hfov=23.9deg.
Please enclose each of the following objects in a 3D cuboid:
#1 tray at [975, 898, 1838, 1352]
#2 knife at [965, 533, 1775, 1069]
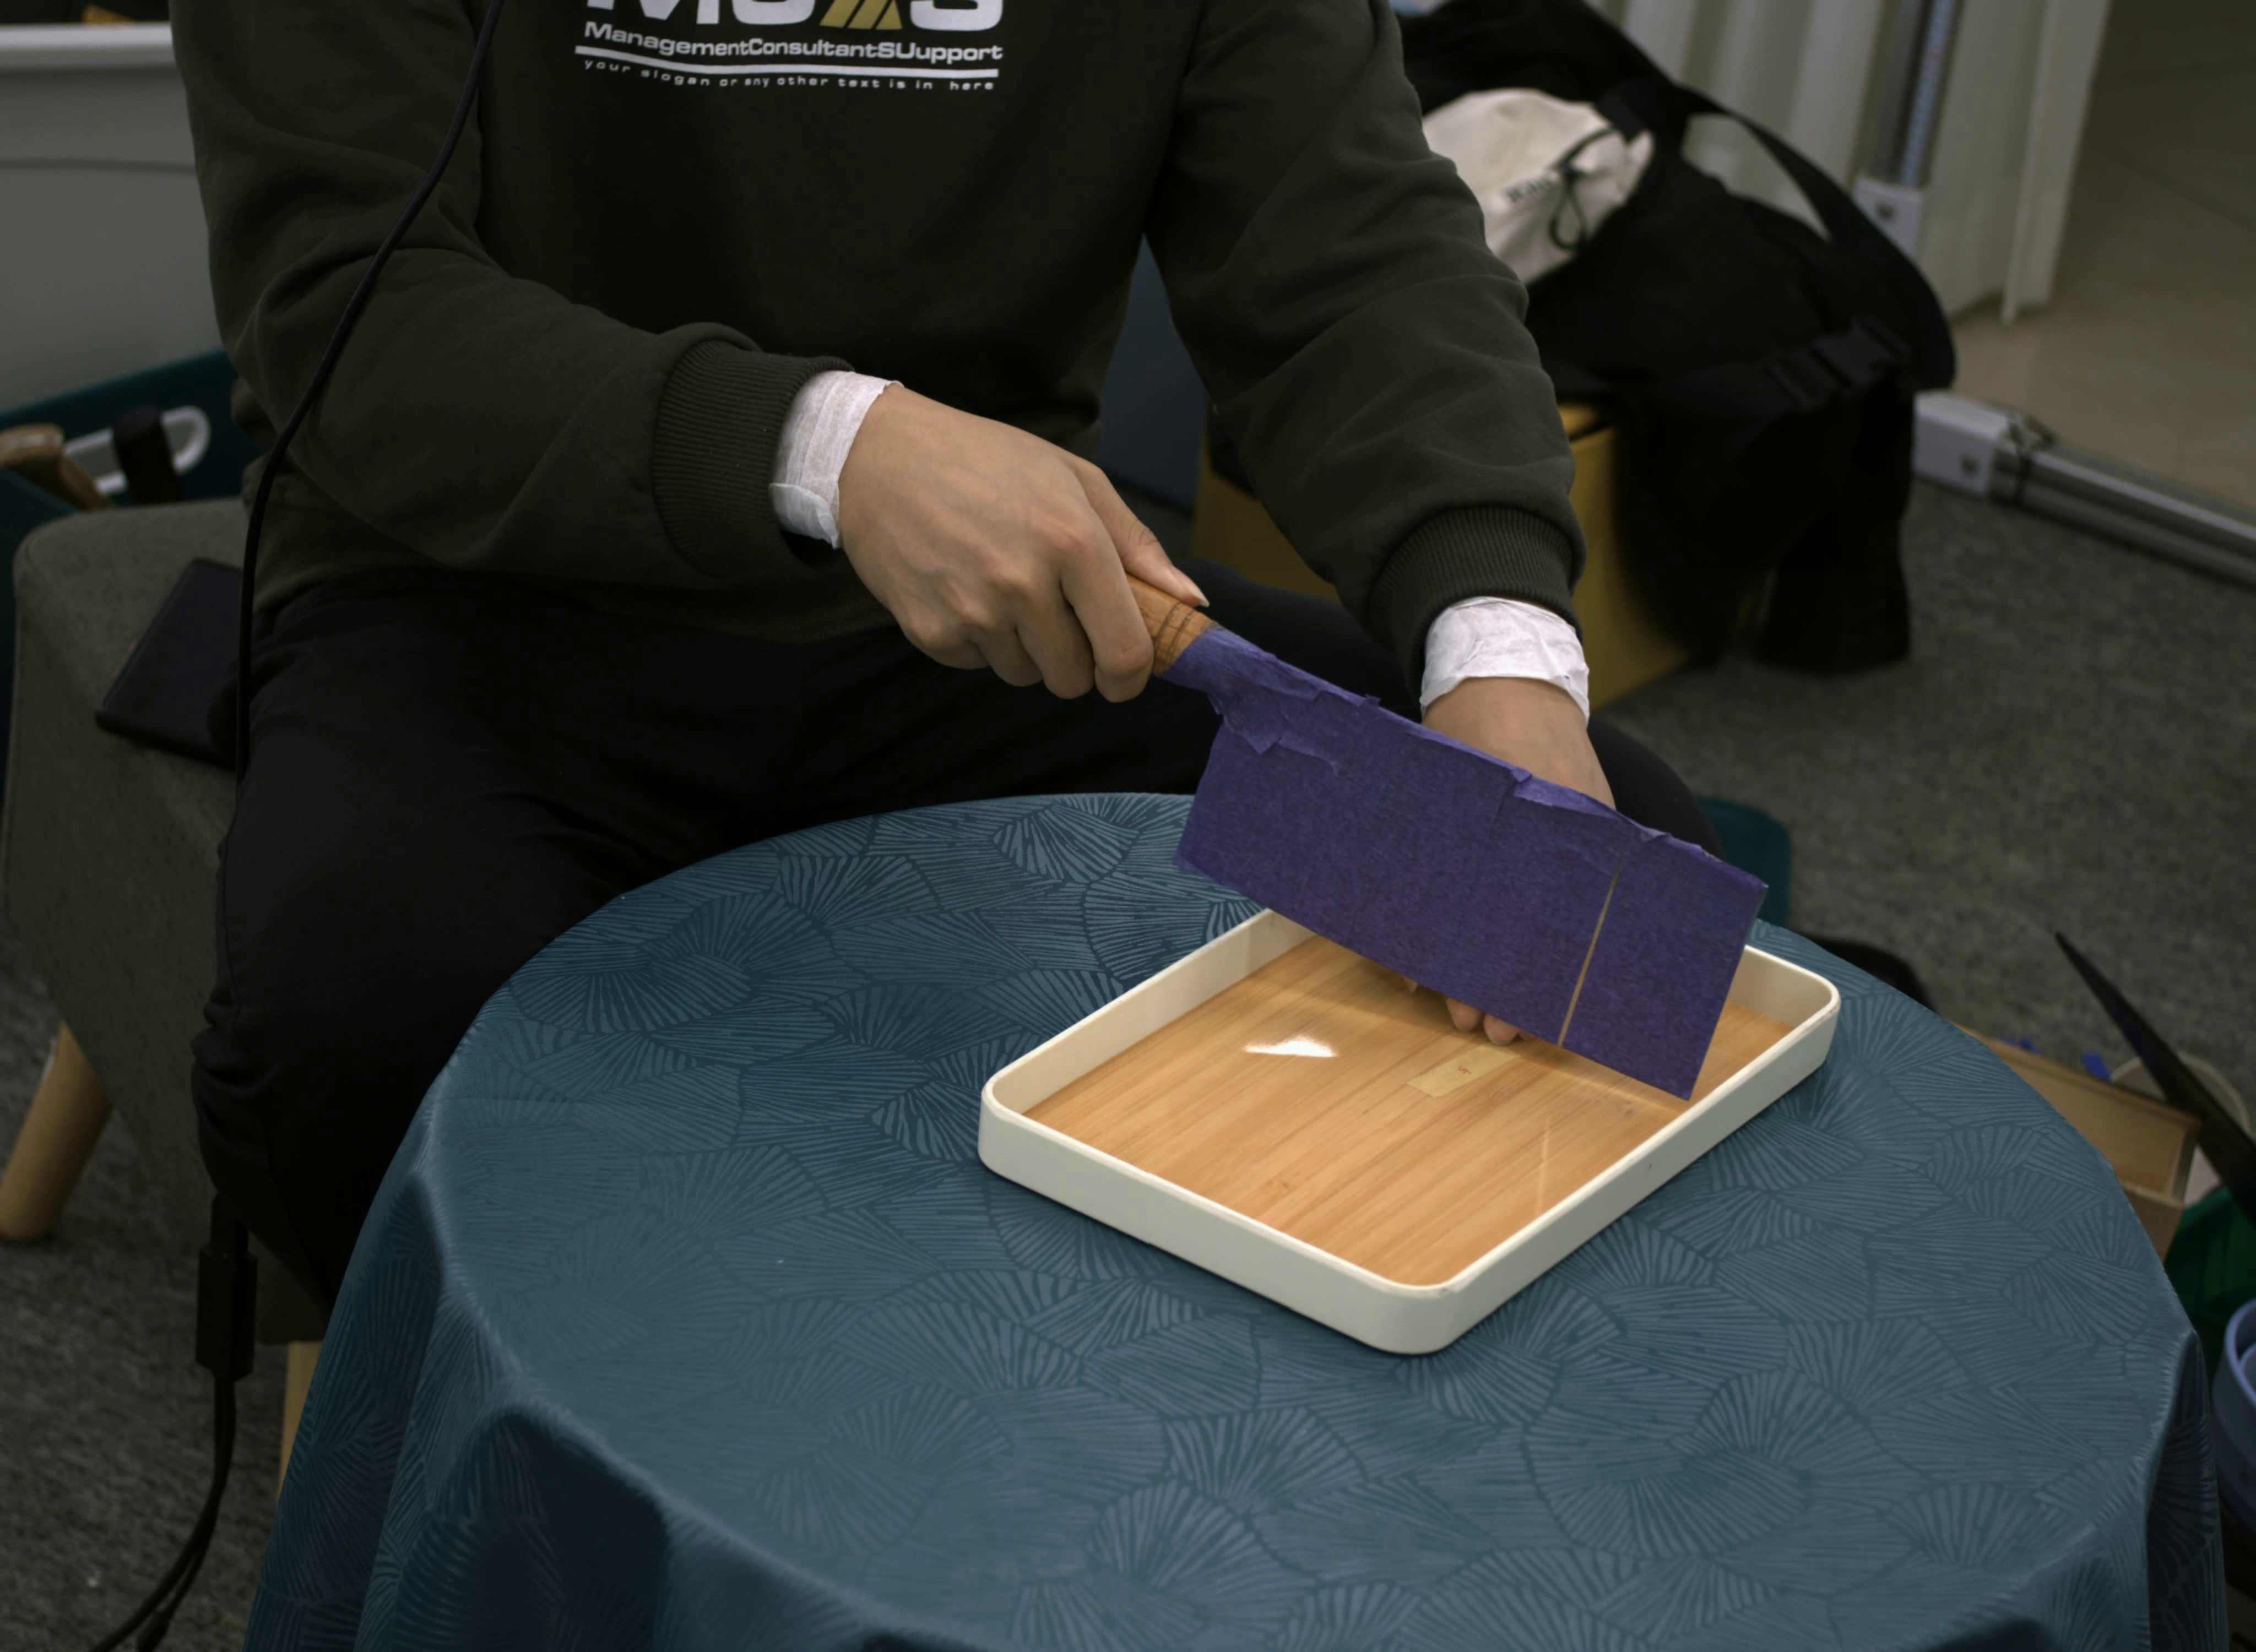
[{"bbox_3d":[0.102,0.085,1.873,0.192,0.027,0.299,23,31,28],"label":"tray"},{"bbox_3d":[0.074,-0.006,1.901,0.316,0.104,0.032,25,21,17],"label":"knife"}]
